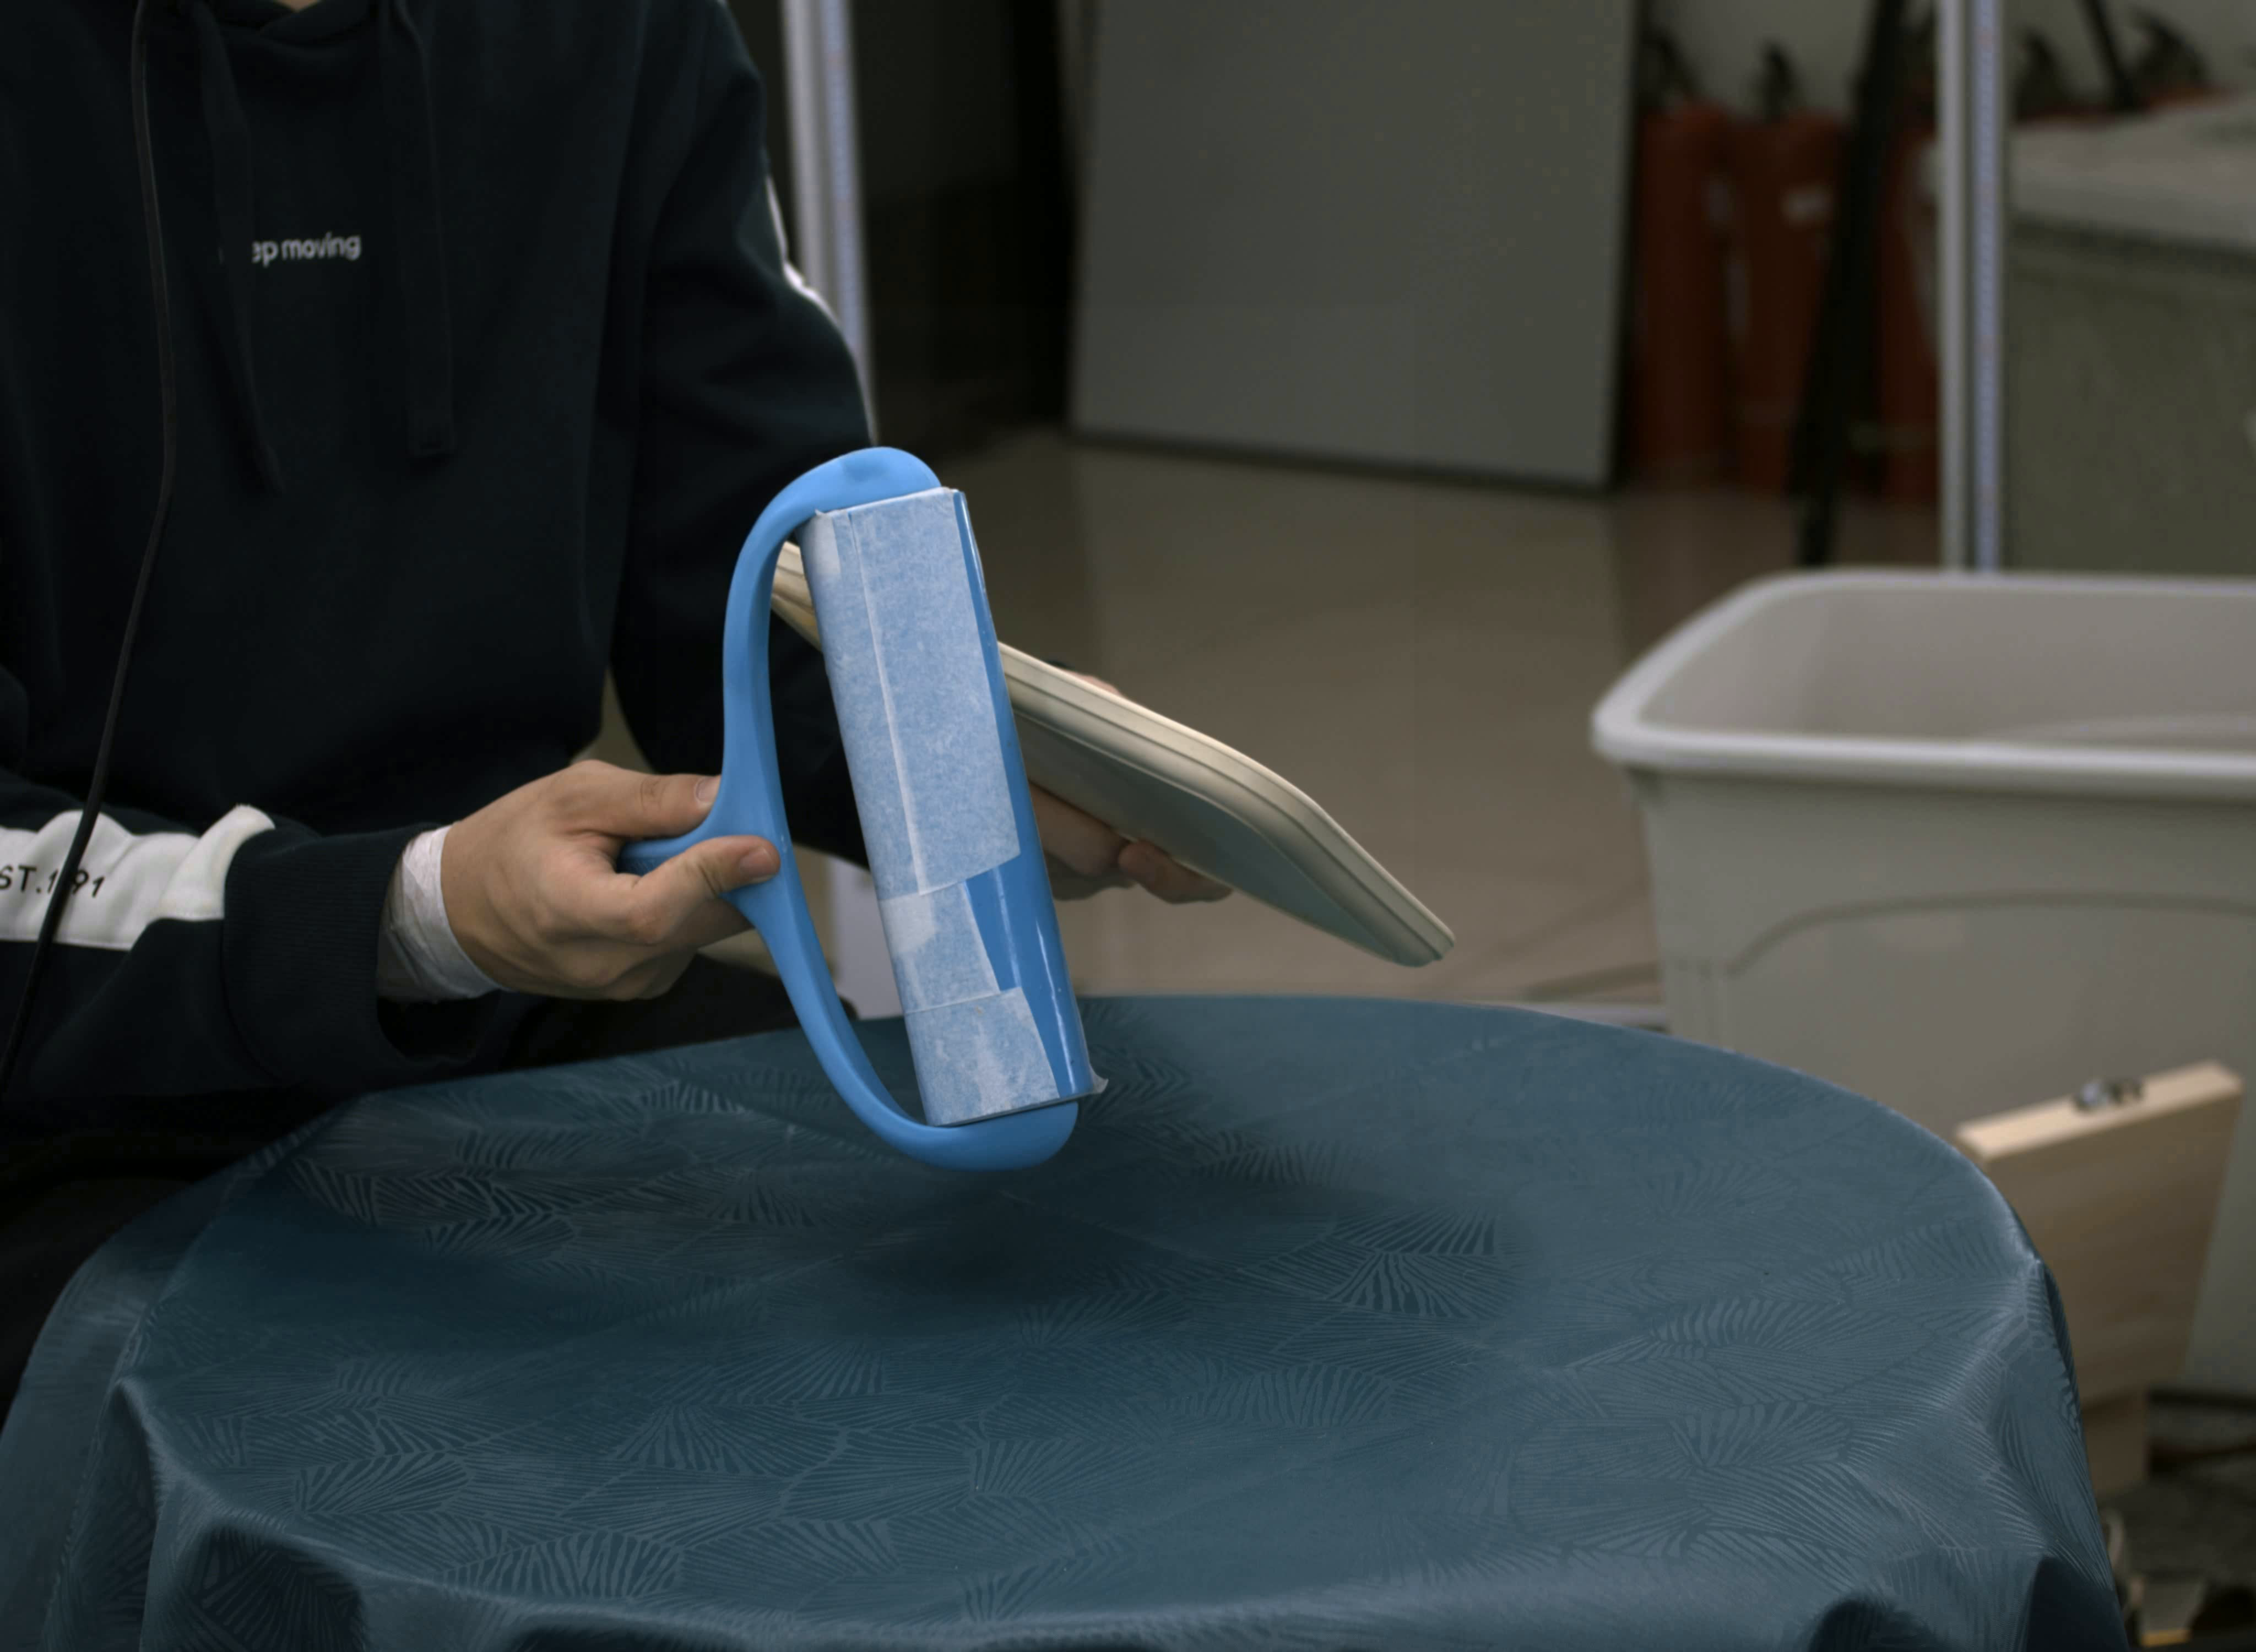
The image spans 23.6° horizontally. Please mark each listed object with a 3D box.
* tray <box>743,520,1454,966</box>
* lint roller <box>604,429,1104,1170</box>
[{"bbox_3d":[-0.012,-0.024,1.751,0.241,0.017,0.169,26,-10,34],"label":"tray"},{"bbox_3d":[-0.105,0.007,1.691,0.181,0.231,0.067,-17,-3,30],"label":"lint roller"}]
